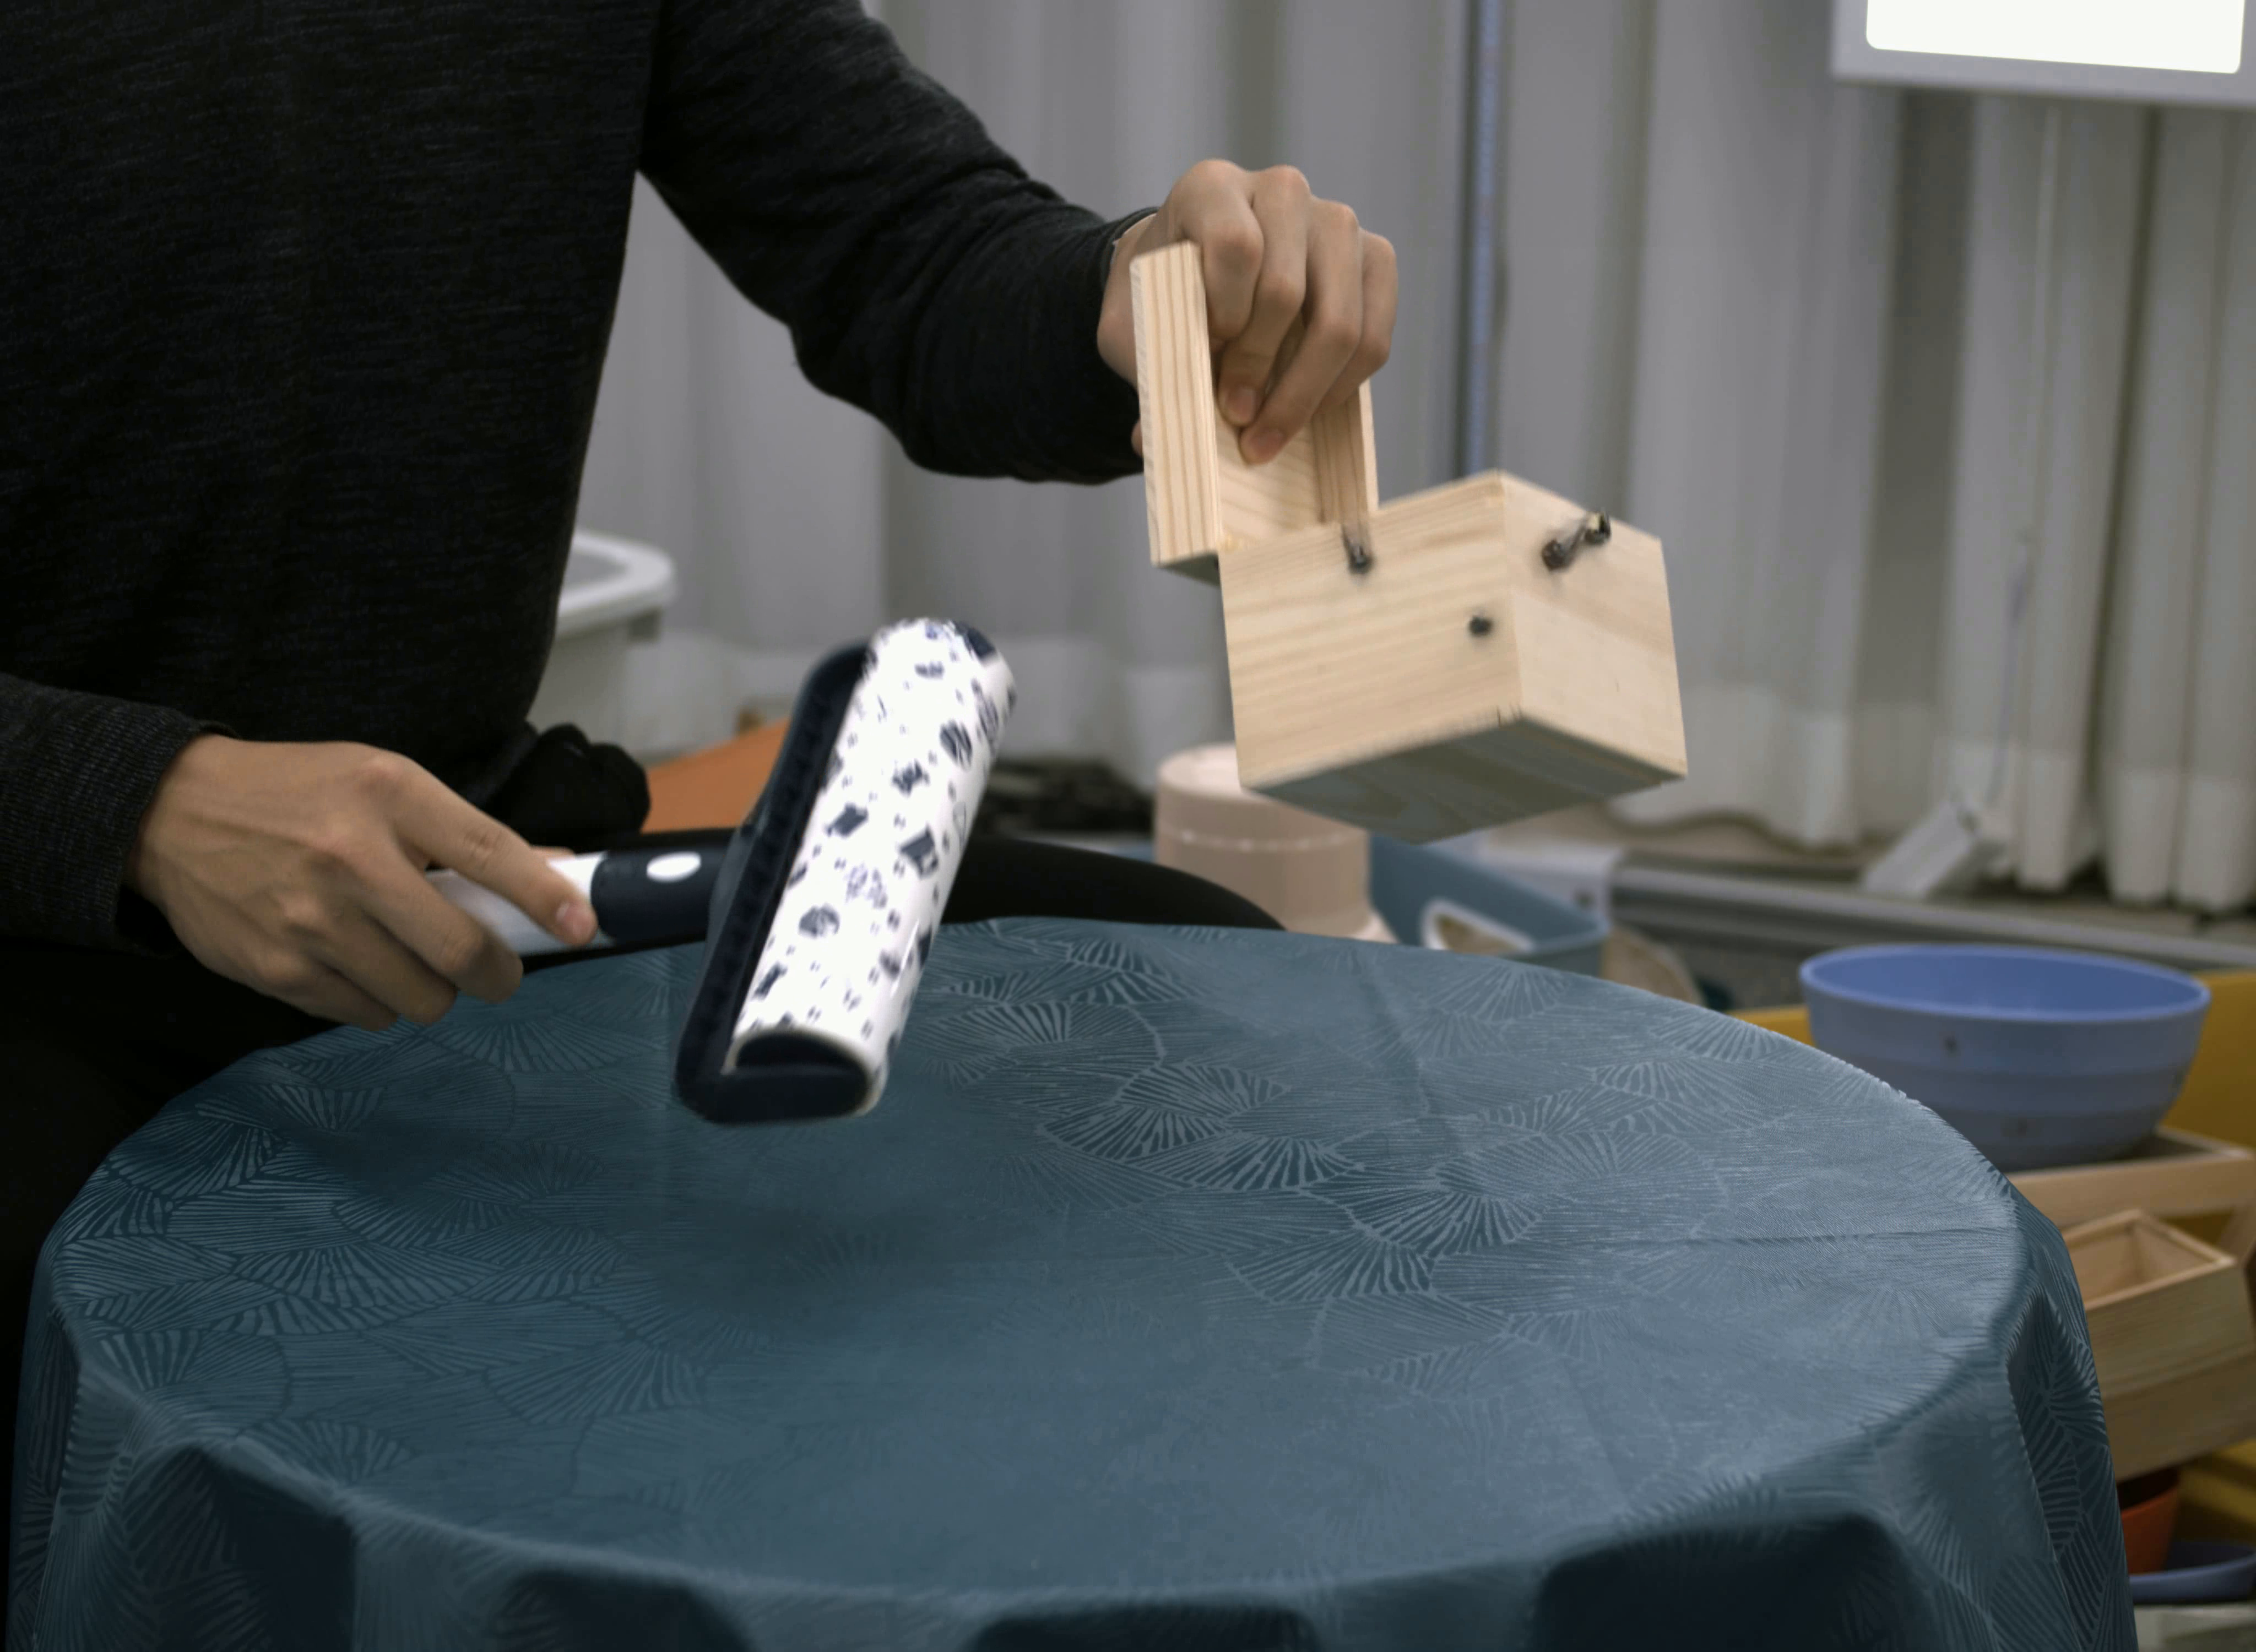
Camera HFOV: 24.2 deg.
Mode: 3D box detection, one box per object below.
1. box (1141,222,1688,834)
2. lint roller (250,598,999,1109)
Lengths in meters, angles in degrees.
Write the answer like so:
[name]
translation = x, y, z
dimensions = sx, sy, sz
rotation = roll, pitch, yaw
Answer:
[box]
translation = 0.089, -0.103, 1.632
dimensions = 0.133, 0.184, 0.104
rotation = -15, -19, 32
[lint roller]
translation = -0.167, 0.018, 1.605
dimensions = 0.245, 0.051, 0.175
rotation = -7, 48, 23
